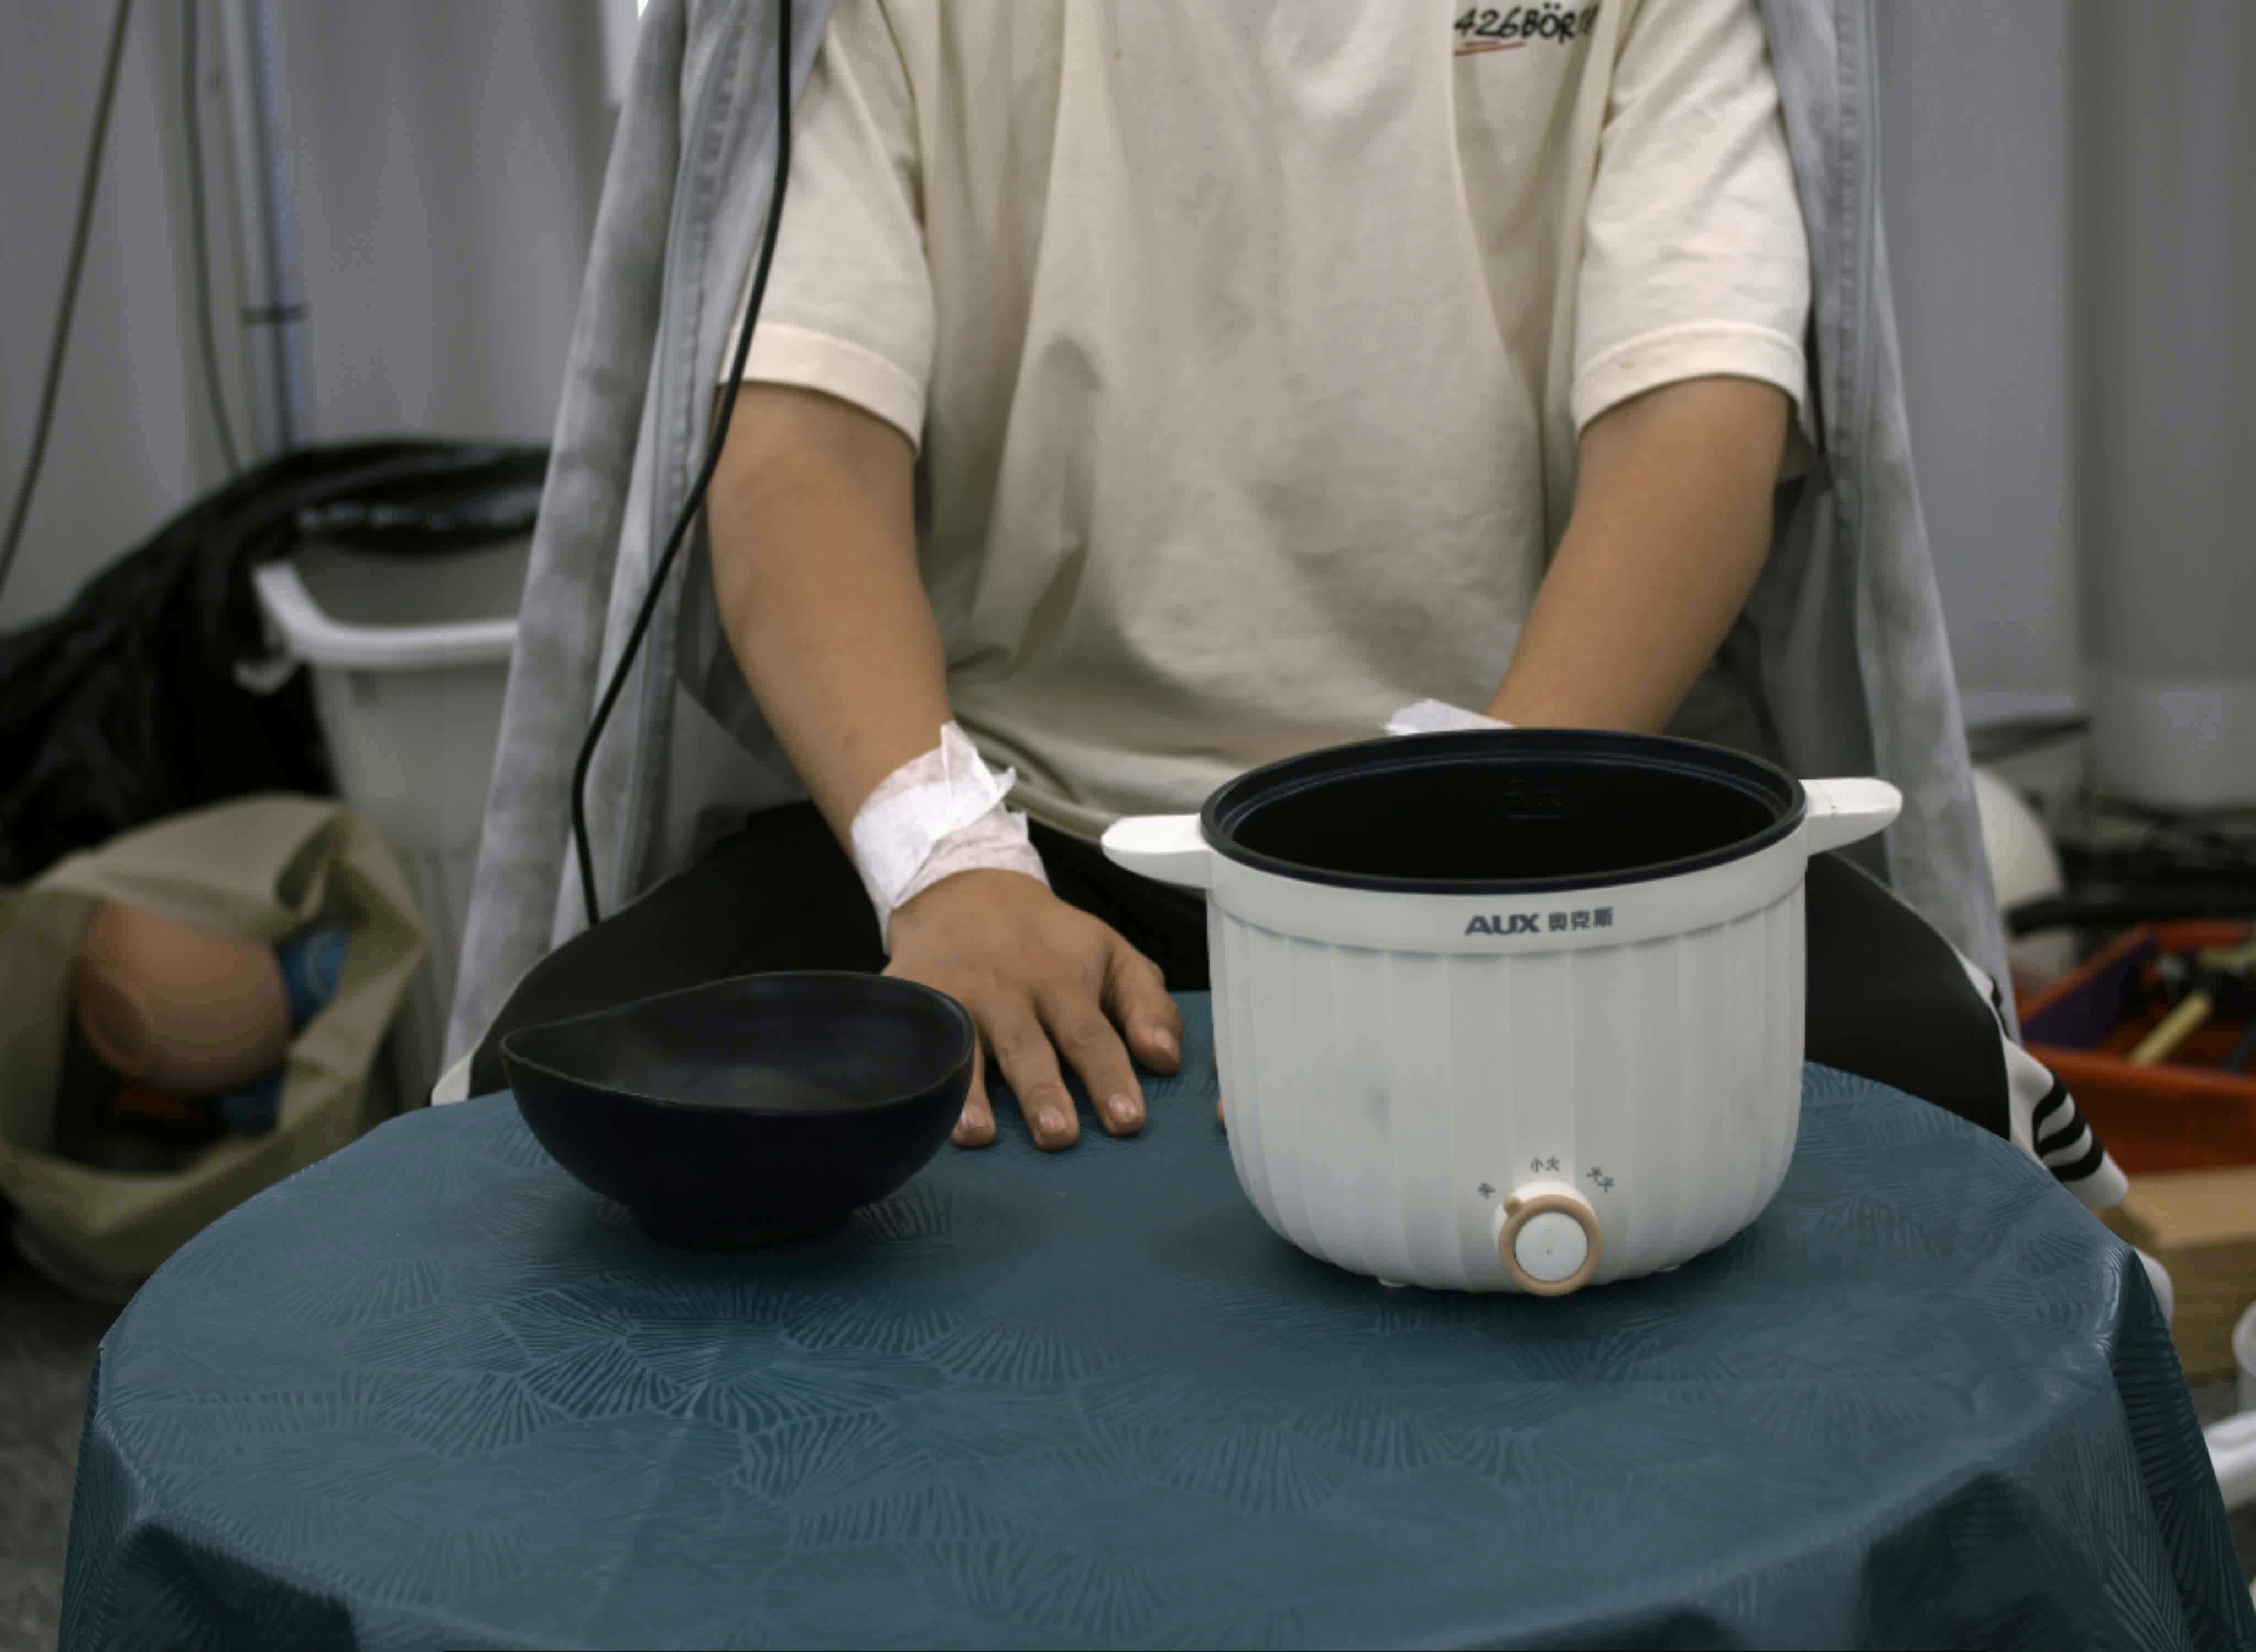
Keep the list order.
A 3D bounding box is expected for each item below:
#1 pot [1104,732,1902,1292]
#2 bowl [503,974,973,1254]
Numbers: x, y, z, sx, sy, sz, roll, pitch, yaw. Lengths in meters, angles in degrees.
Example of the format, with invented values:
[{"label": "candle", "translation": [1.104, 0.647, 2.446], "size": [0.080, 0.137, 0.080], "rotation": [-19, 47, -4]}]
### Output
[{"label": "pot", "translation": [0.116, 0.058, 1.643], "size": [0.239, 0.142, 0.191], "rotation": [-4, 11, -2]}, {"label": "bowl", "translation": [-0.122, 0.093, 1.702], "size": [0.137, 0.066, 0.171], "rotation": [-13, 17, -38]}]
